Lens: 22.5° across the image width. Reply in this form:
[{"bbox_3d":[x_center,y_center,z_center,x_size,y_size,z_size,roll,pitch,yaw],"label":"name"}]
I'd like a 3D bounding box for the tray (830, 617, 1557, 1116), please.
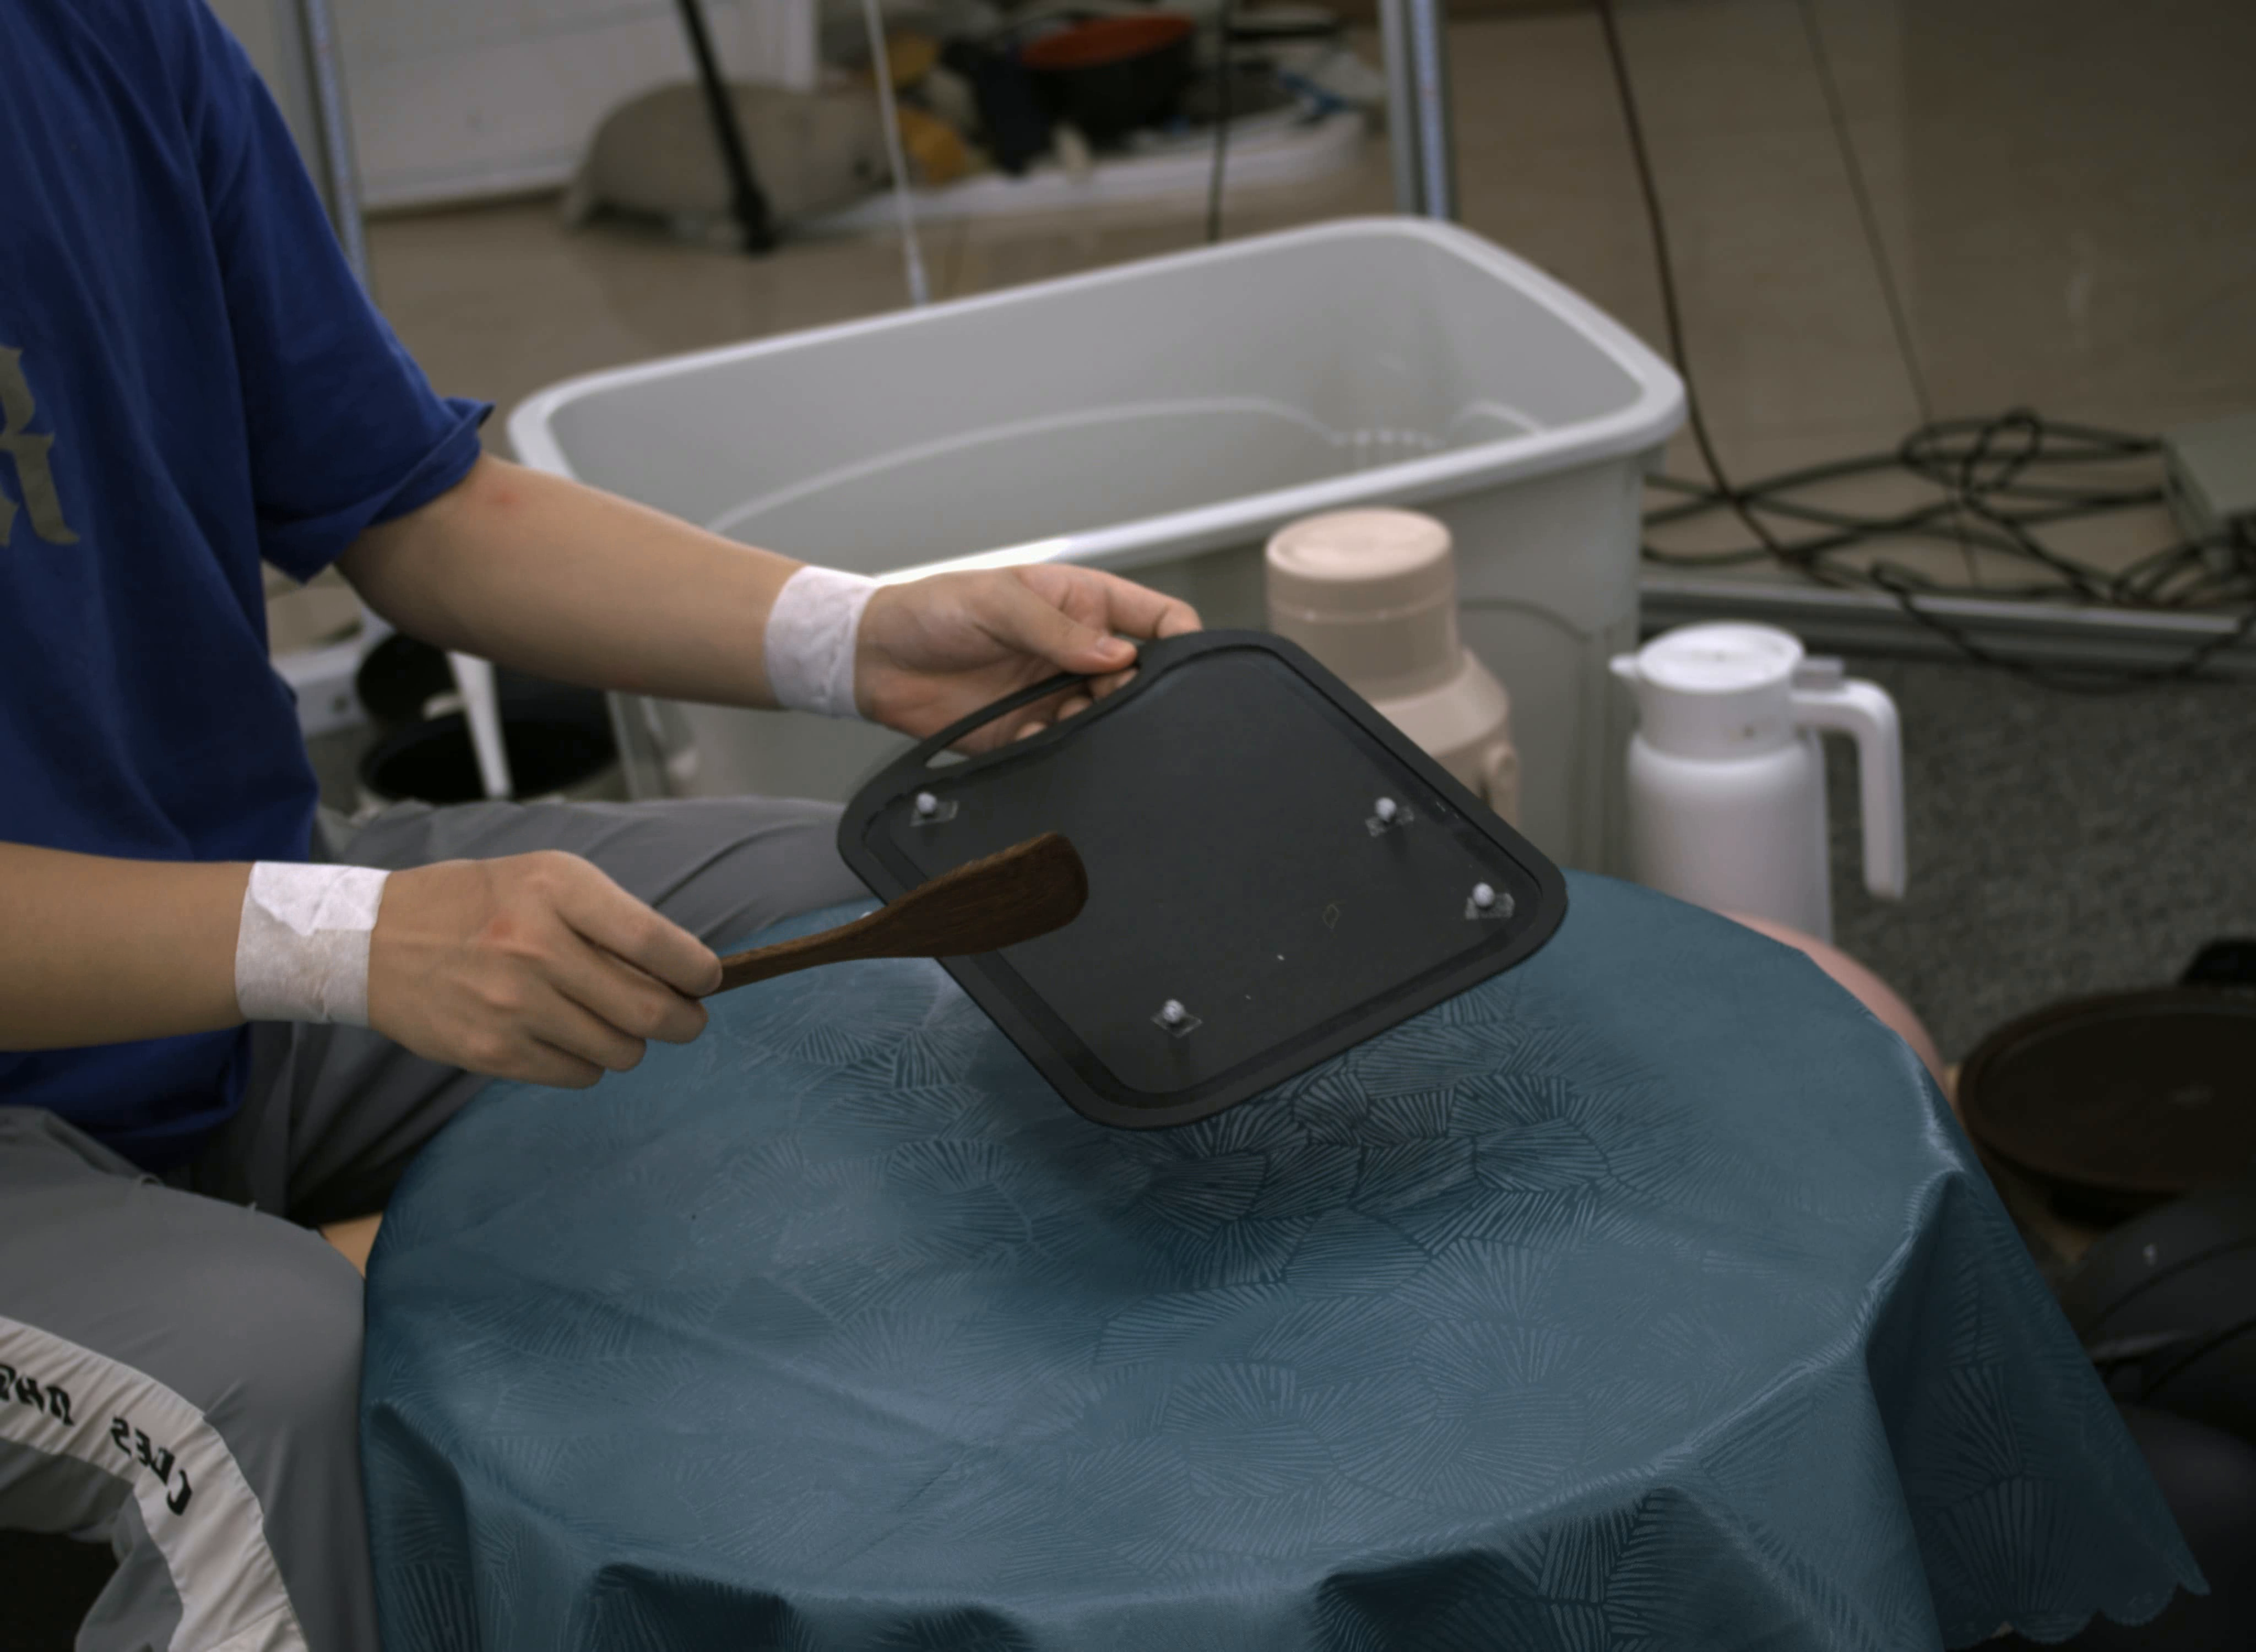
[{"bbox_3d":[0.015,0.006,2.207,0.210,0.010,0.321,-26,34,-13],"label":"tray"}]

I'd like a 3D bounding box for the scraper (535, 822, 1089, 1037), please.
[{"bbox_3d":[-0.117,0.044,2.094,0.211,0.077,0.010,-15,61,2],"label":"scraper"}]
